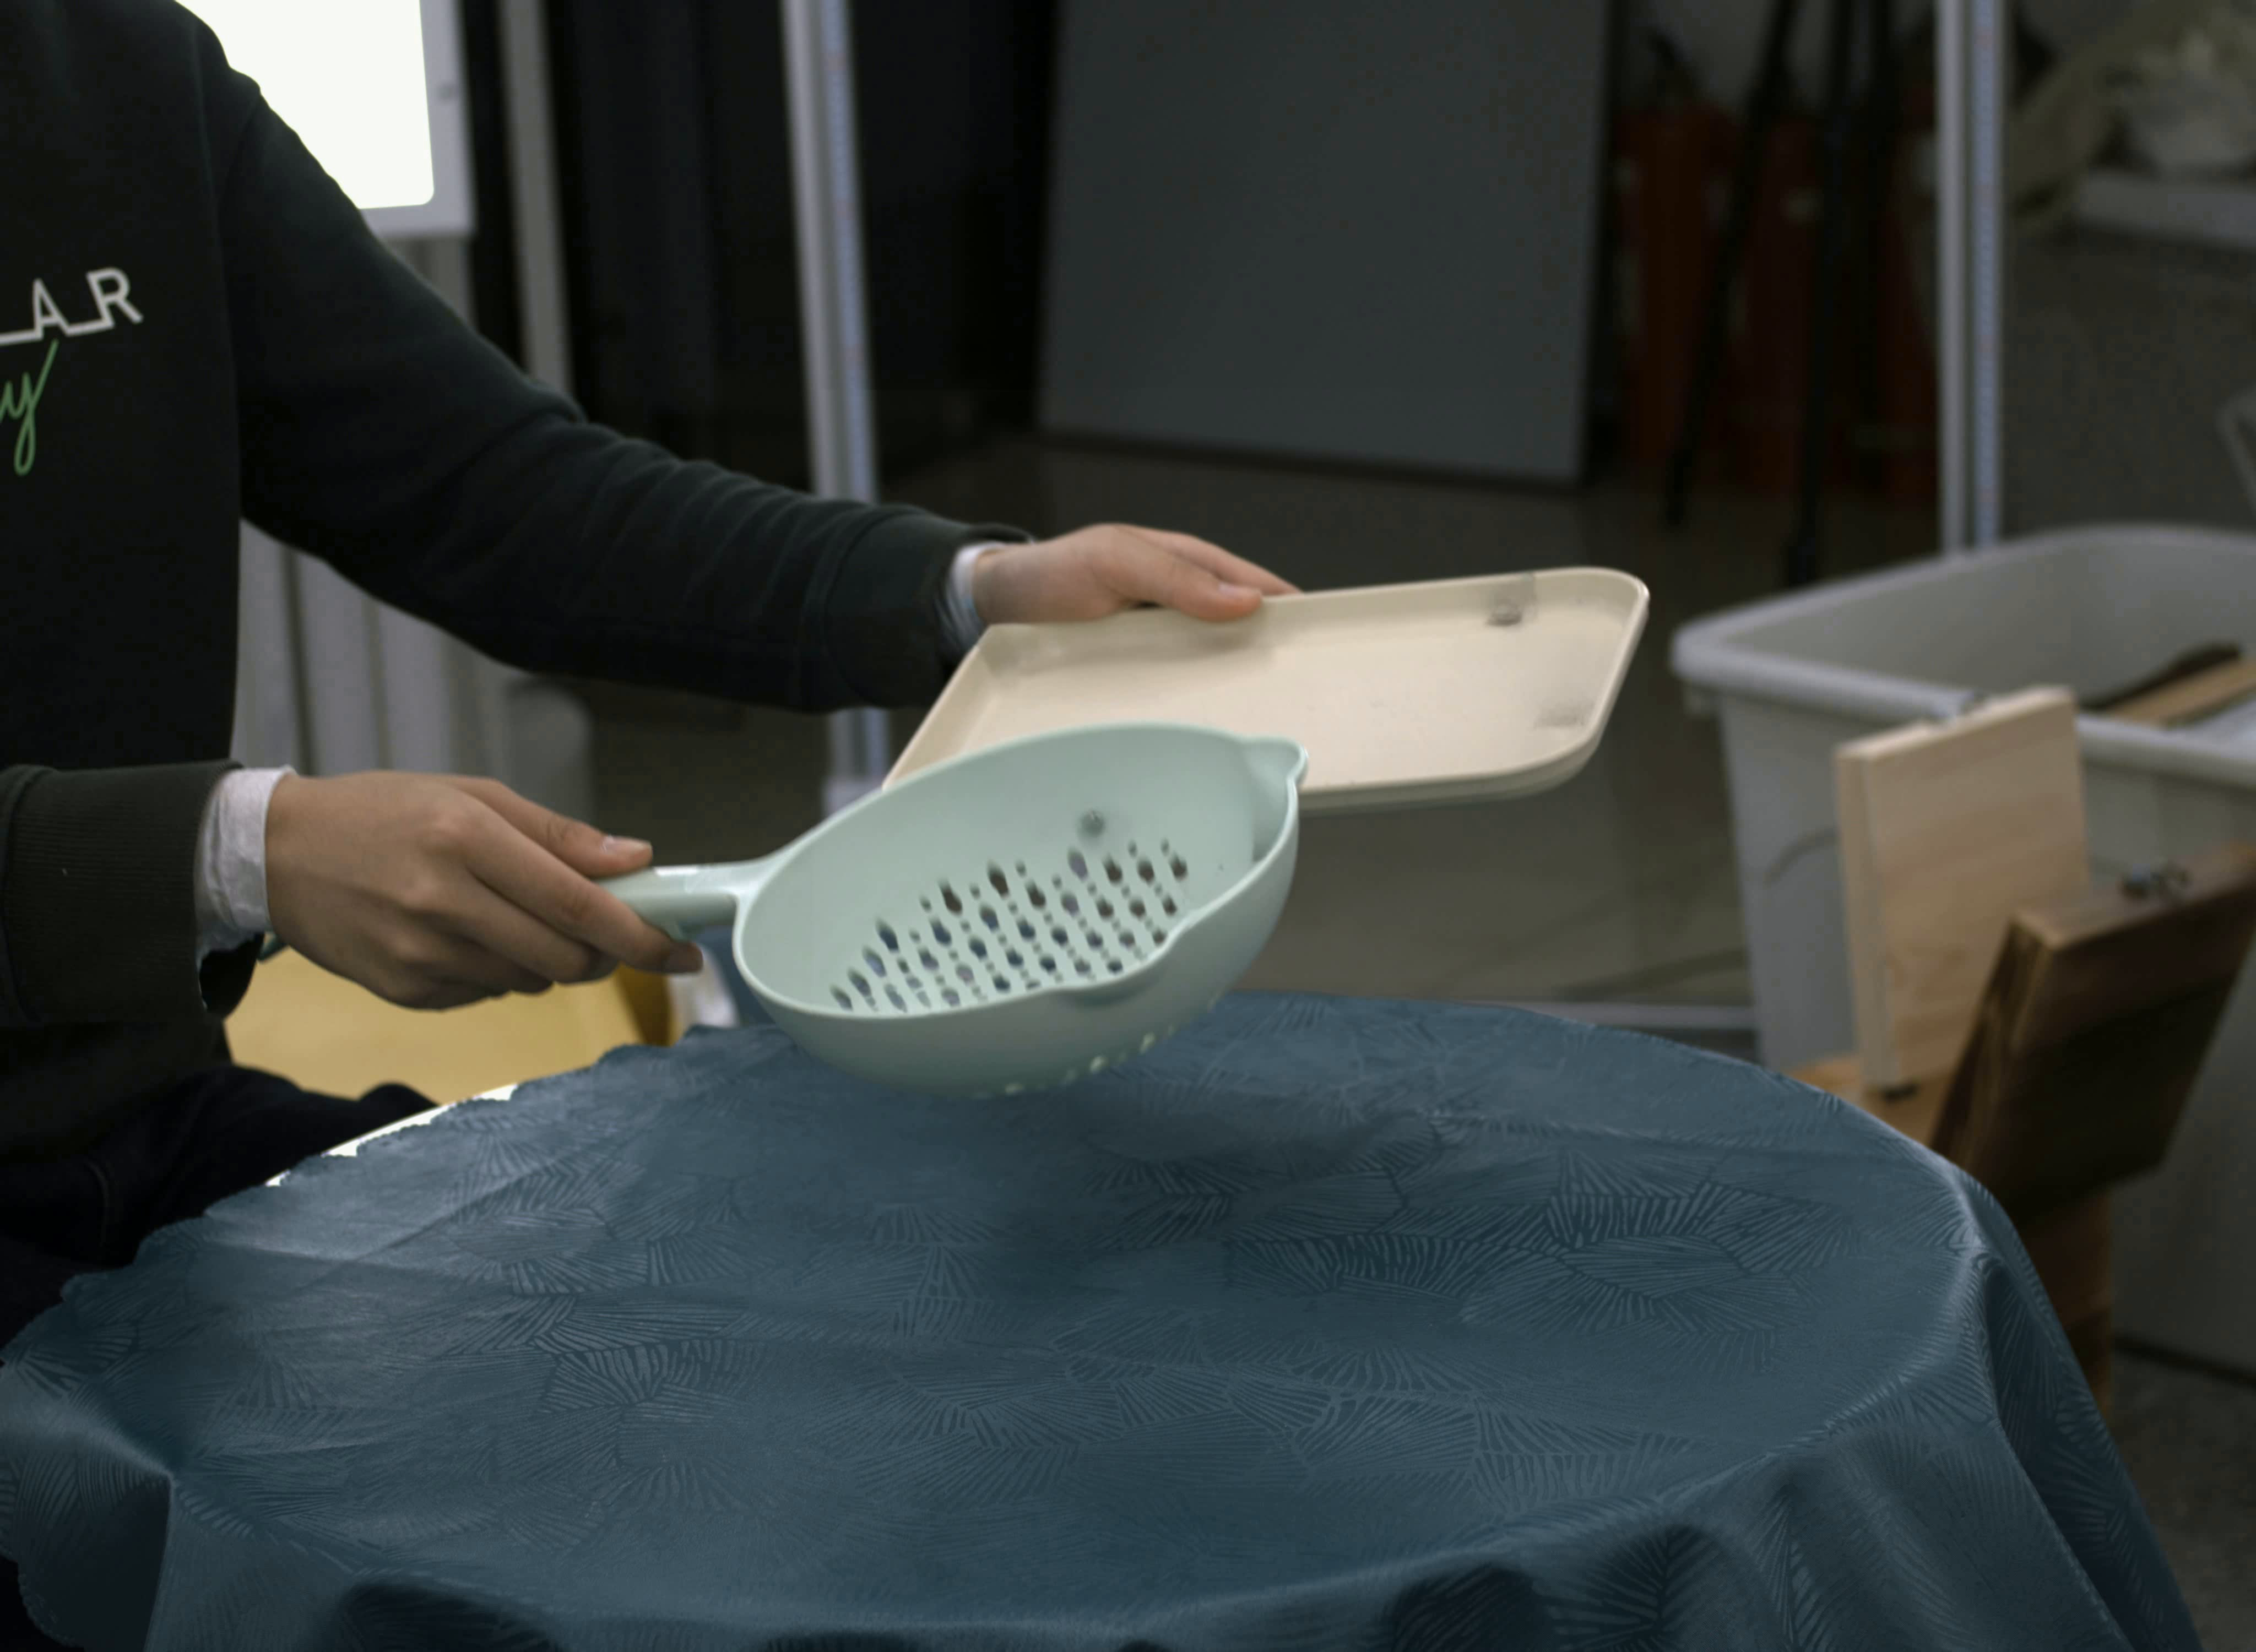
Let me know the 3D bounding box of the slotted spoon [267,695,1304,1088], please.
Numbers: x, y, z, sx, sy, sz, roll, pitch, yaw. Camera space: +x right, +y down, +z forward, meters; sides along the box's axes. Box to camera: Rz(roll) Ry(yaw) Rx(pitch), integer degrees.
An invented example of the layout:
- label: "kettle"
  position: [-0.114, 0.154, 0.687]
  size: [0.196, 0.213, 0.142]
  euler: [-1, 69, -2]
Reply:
- label: "slotted spoon"
  position: [-0.114, 0.022, 1.601]
  size: [0.359, 0.076, 0.168]
  euler: [4, 32, 27]

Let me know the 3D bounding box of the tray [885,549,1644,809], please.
- label: "tray"
  position: [0.047, -0.041, 1.759]
  size: [0.239, 0.017, 0.170]
  euler: [-6, 22, 18]
